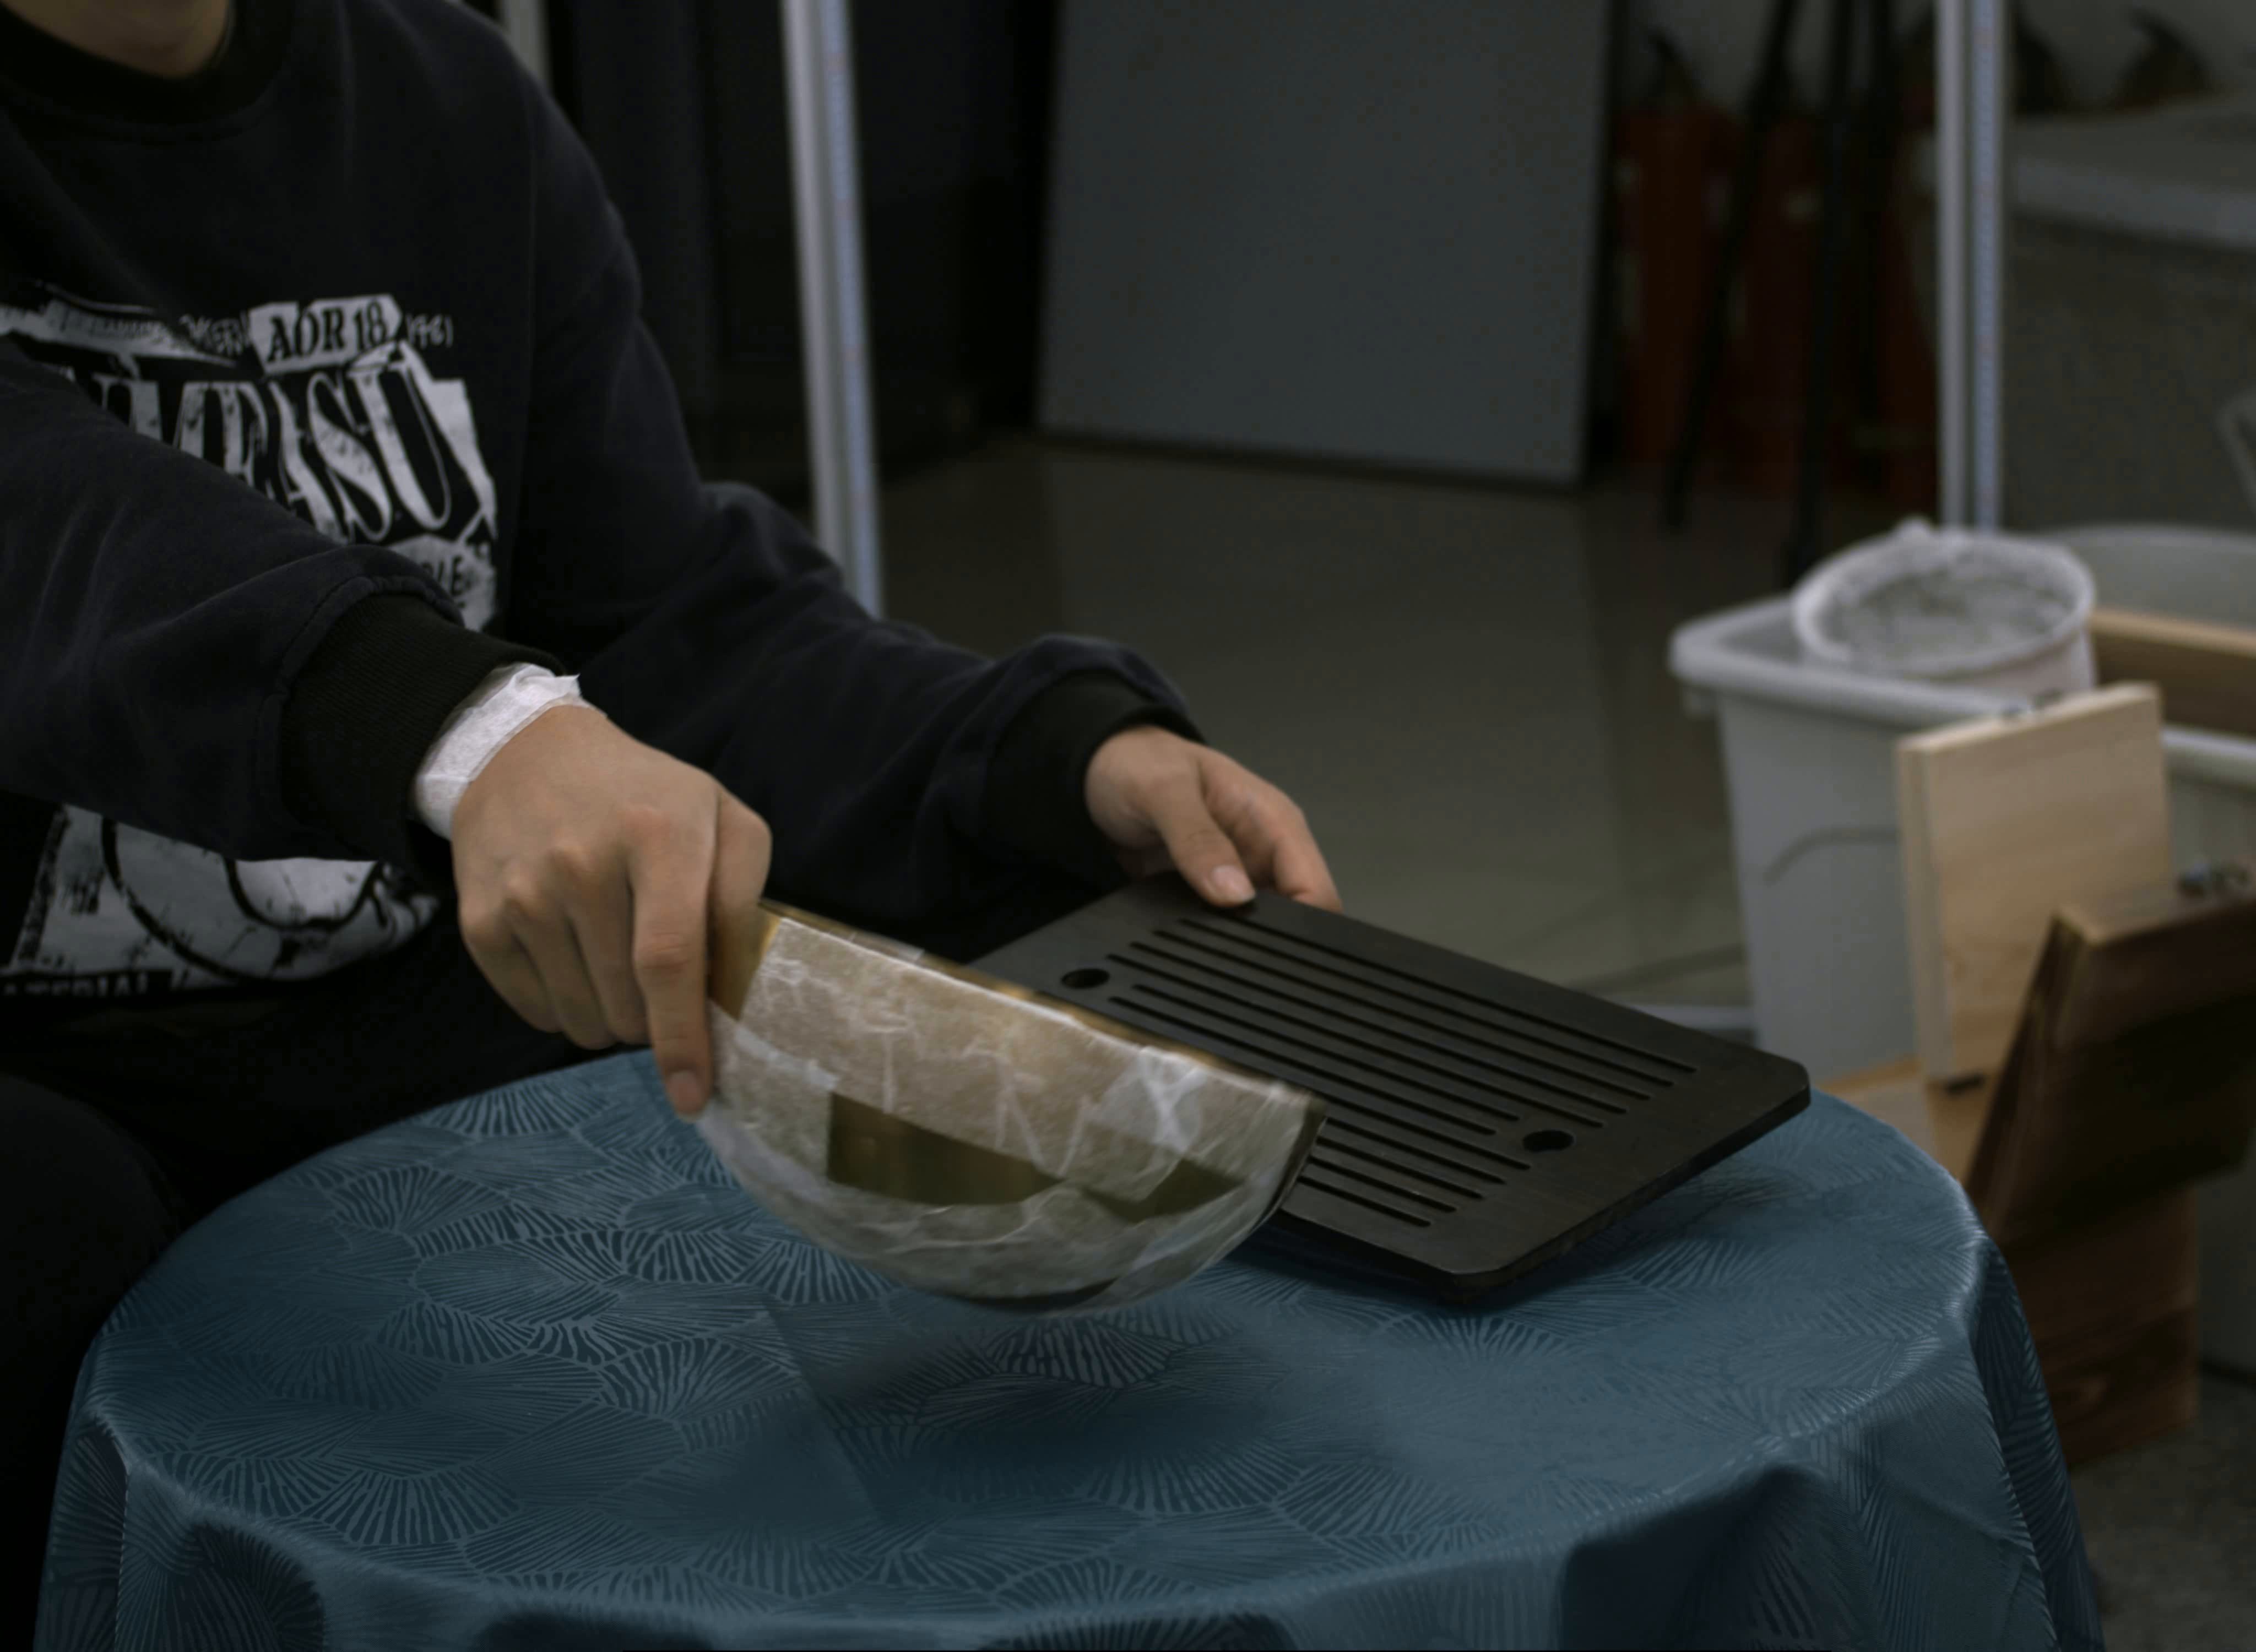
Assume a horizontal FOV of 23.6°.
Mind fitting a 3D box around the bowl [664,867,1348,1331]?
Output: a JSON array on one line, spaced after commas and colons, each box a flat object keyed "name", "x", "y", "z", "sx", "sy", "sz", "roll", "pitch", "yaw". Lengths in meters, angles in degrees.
[{"name": "bowl", "x": -0.050, "y": 0.092, "z": 1.581, "sx": 0.212, "sy": 0.095, "sz": 0.215, "roll": 20, "pitch": -2, "yaw": 0}]

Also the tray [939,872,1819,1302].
[{"name": "tray", "x": 0.064, "y": 0.082, "z": 1.780, "sx": 0.167, "sy": 0.019, "sz": 0.309, "roll": -26, "pitch": 29, "yaw": -36}]
